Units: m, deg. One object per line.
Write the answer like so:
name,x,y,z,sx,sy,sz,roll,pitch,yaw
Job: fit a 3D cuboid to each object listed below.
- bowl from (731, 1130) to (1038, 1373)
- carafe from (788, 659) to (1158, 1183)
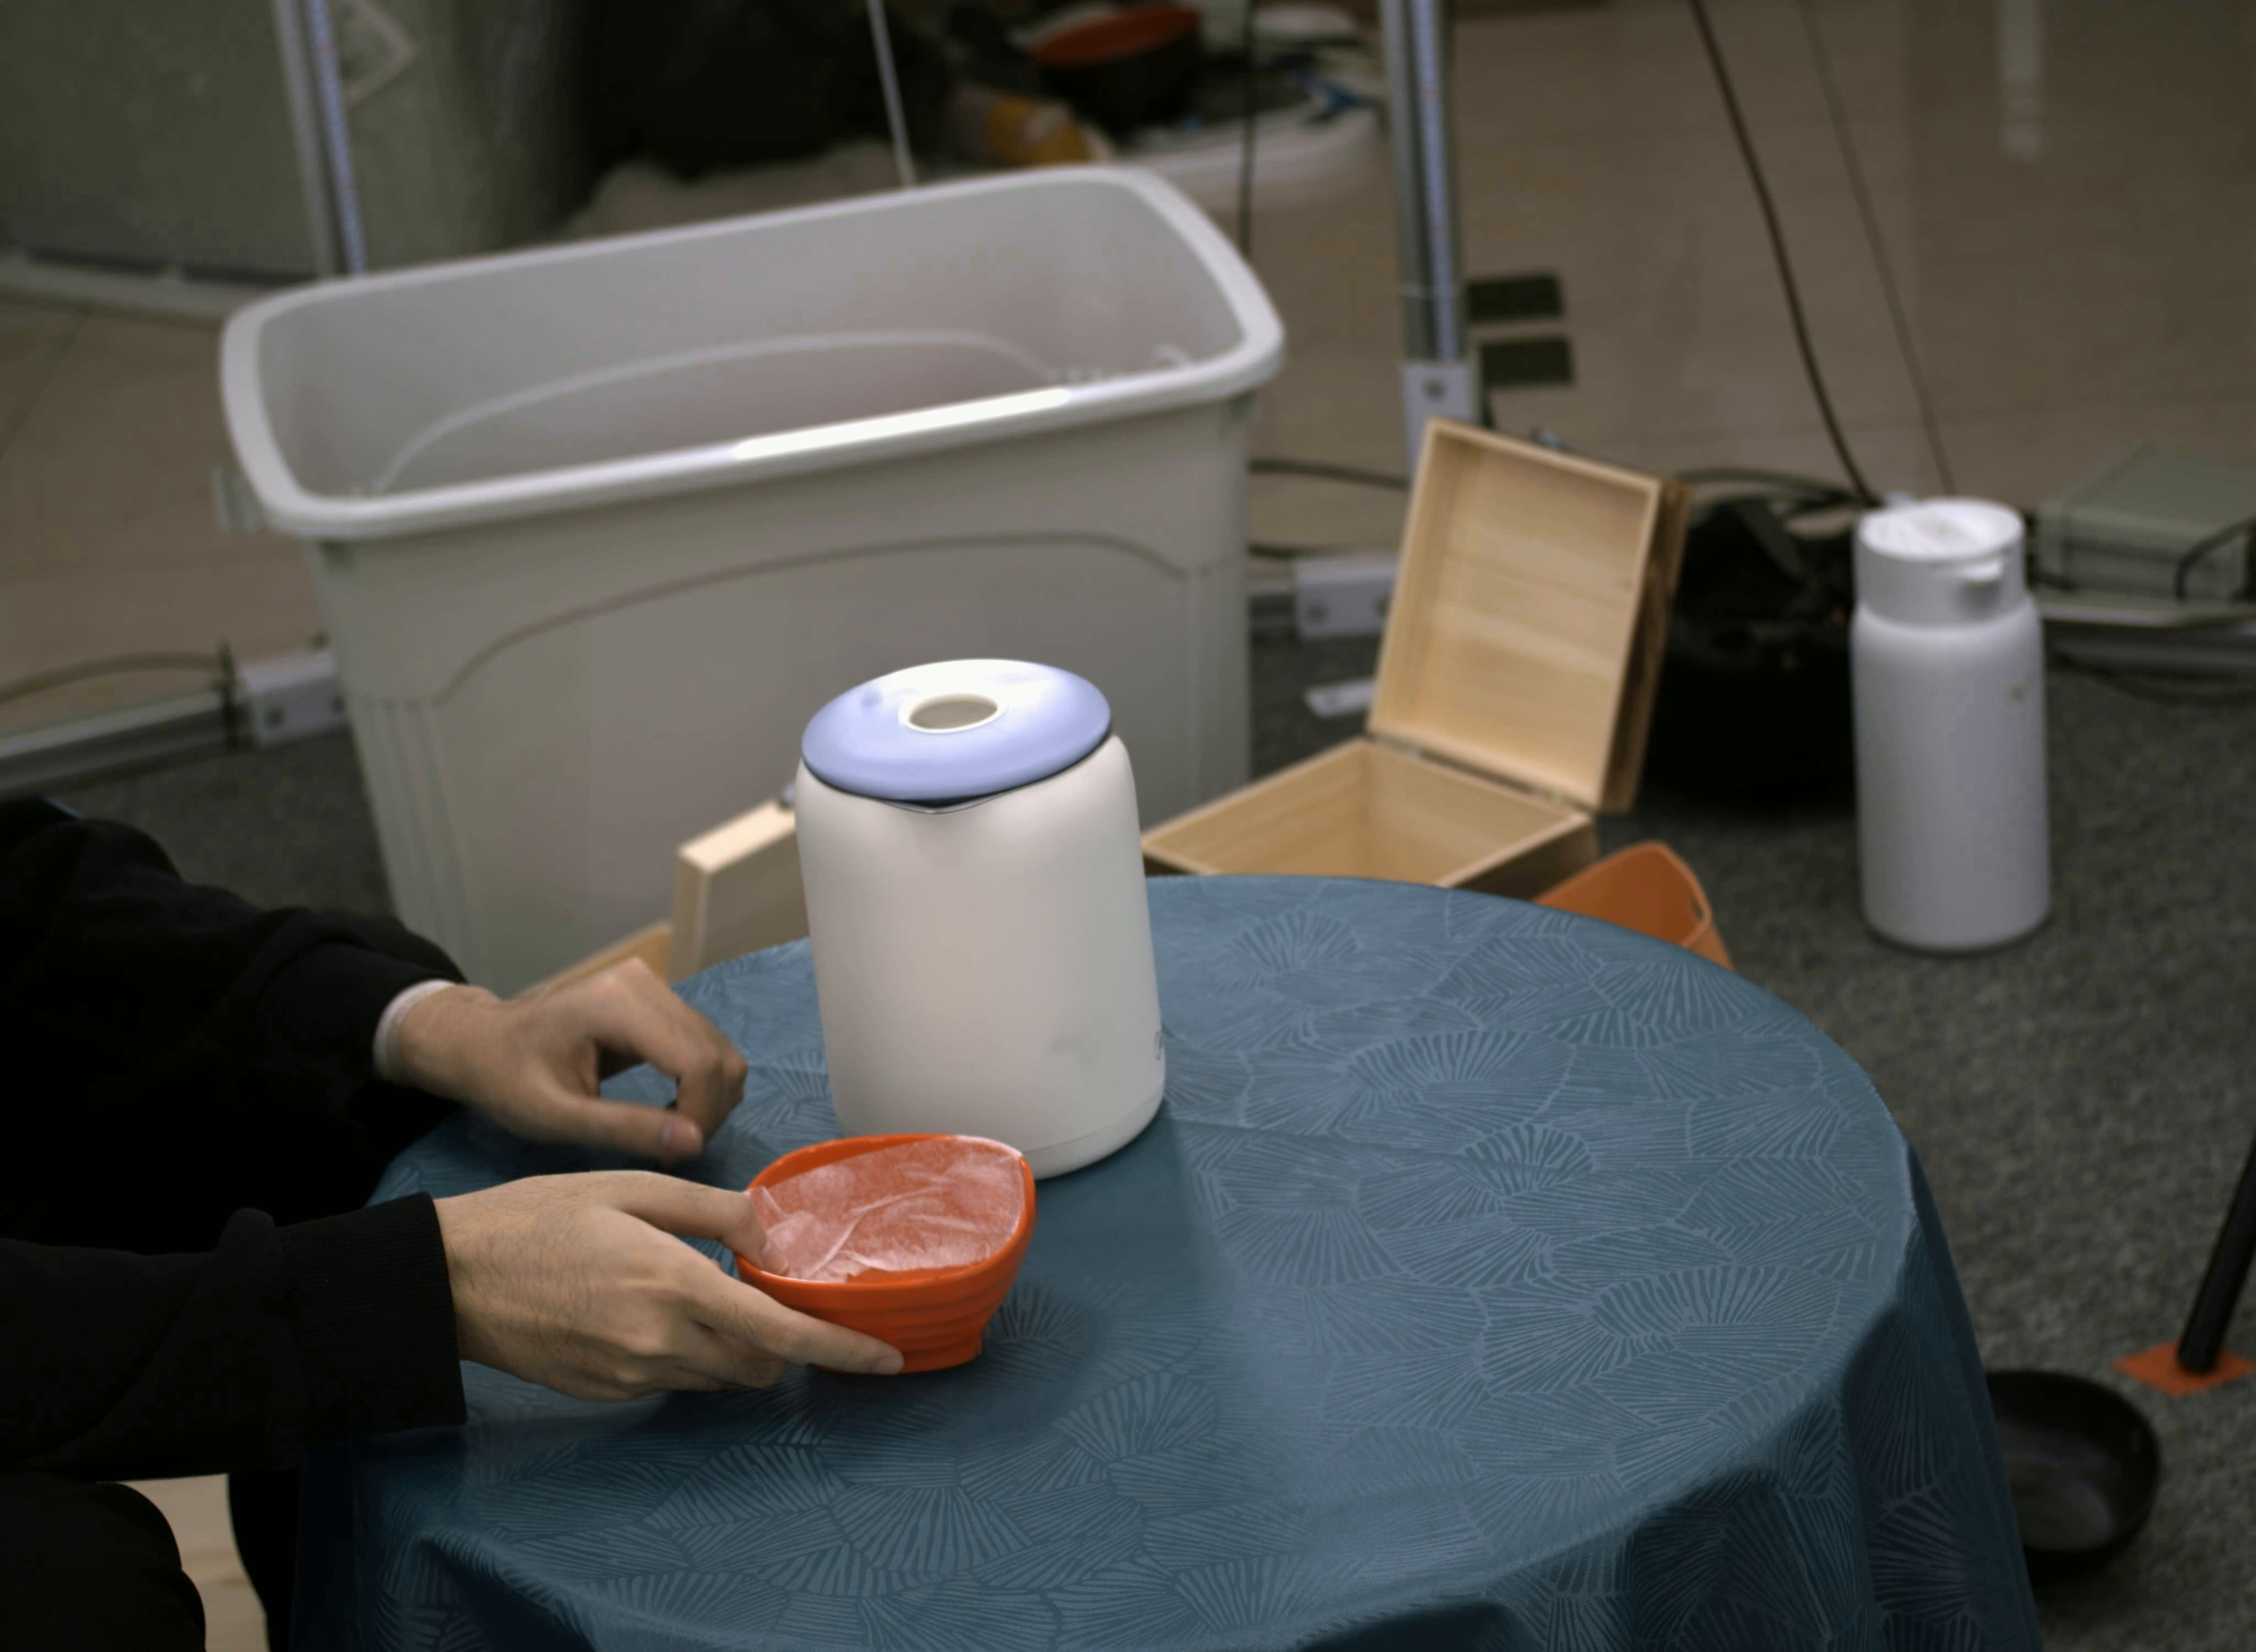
bowl,-0.086,0.158,2.051,0.119,0.052,0.117,-2,28,1
carafe,-0.058,0.027,2.193,0.132,0.185,0.188,-3,23,3
